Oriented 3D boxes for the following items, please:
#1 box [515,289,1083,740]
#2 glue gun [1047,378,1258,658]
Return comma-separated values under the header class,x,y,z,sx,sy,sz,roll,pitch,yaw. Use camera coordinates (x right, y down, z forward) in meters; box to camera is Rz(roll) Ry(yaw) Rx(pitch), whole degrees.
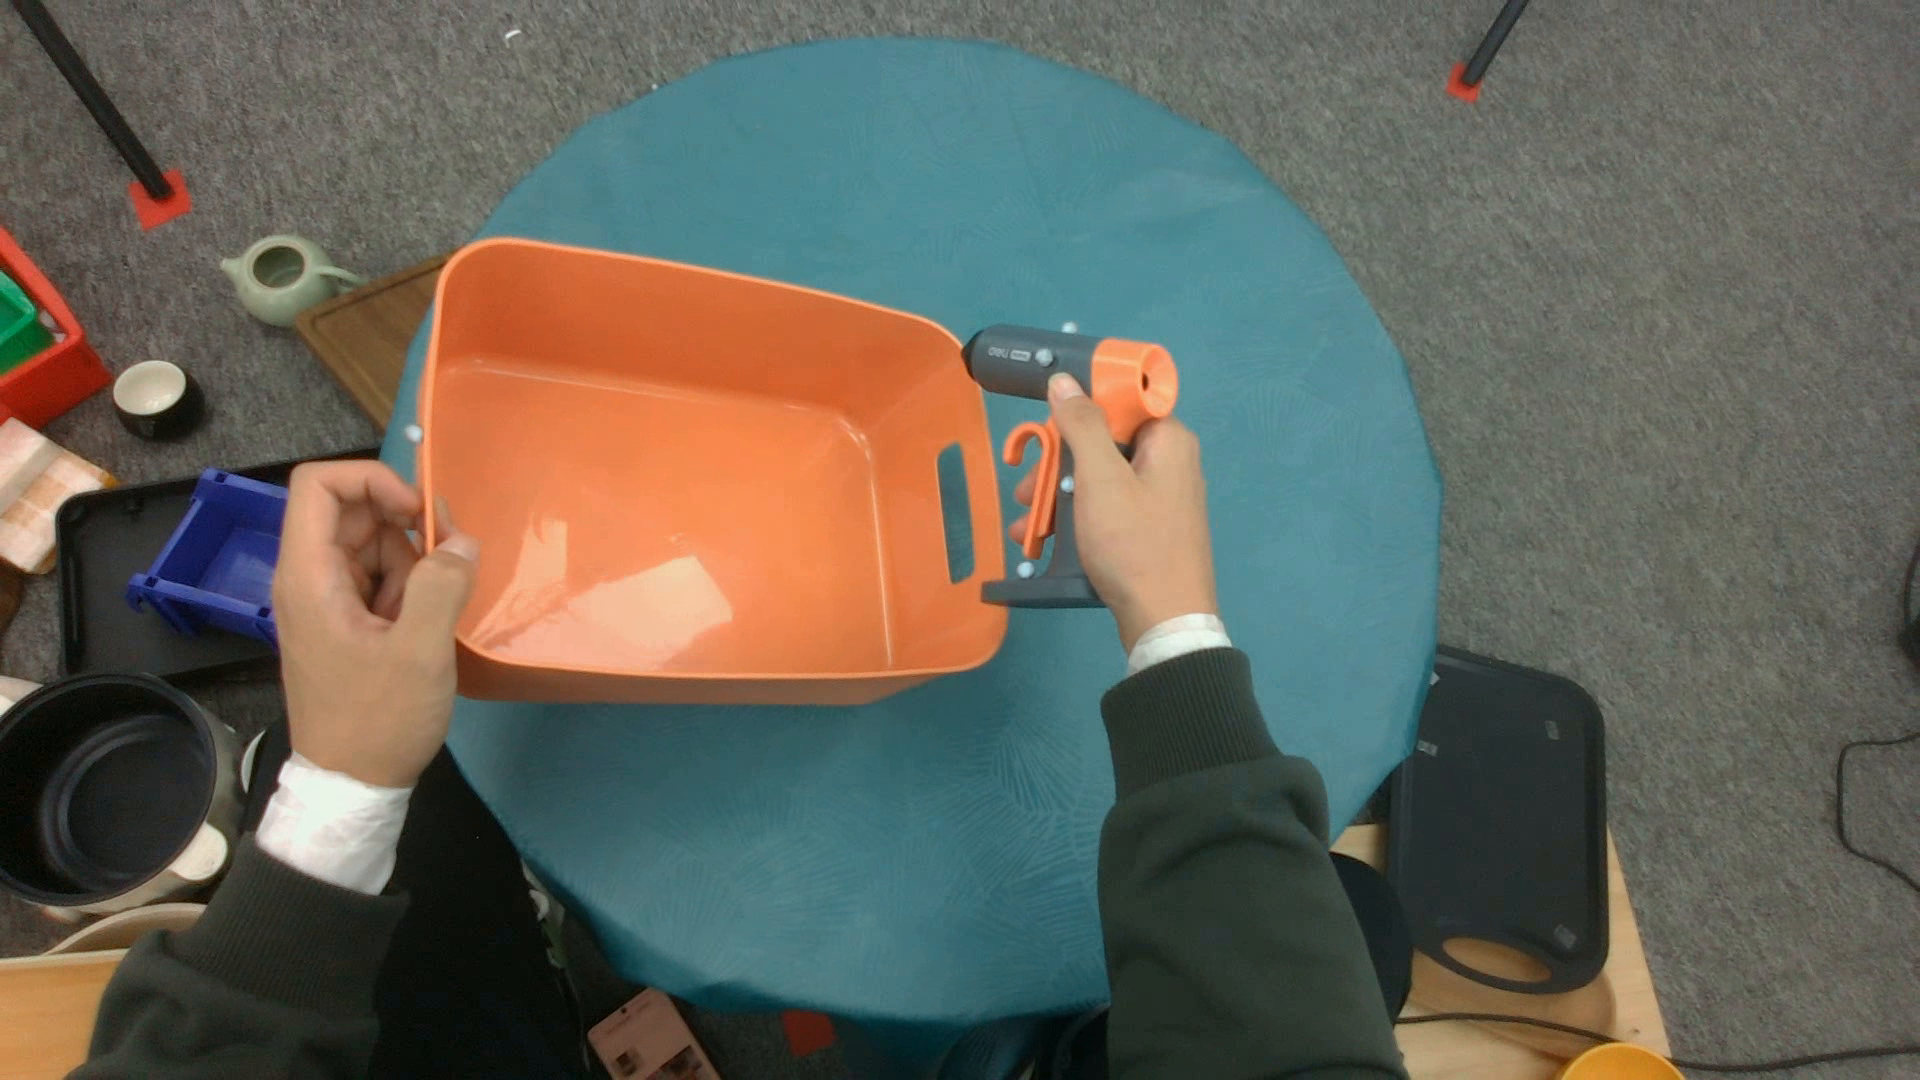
class,x,y,z,sx,sy,sz,roll,pitch,yaw
box,-0.082,0.002,0.682,0.274,0.102,0.200,7,66,-28
glue gun,0.083,-0.015,0.658,0.041,0.117,0.140,15,75,-43
